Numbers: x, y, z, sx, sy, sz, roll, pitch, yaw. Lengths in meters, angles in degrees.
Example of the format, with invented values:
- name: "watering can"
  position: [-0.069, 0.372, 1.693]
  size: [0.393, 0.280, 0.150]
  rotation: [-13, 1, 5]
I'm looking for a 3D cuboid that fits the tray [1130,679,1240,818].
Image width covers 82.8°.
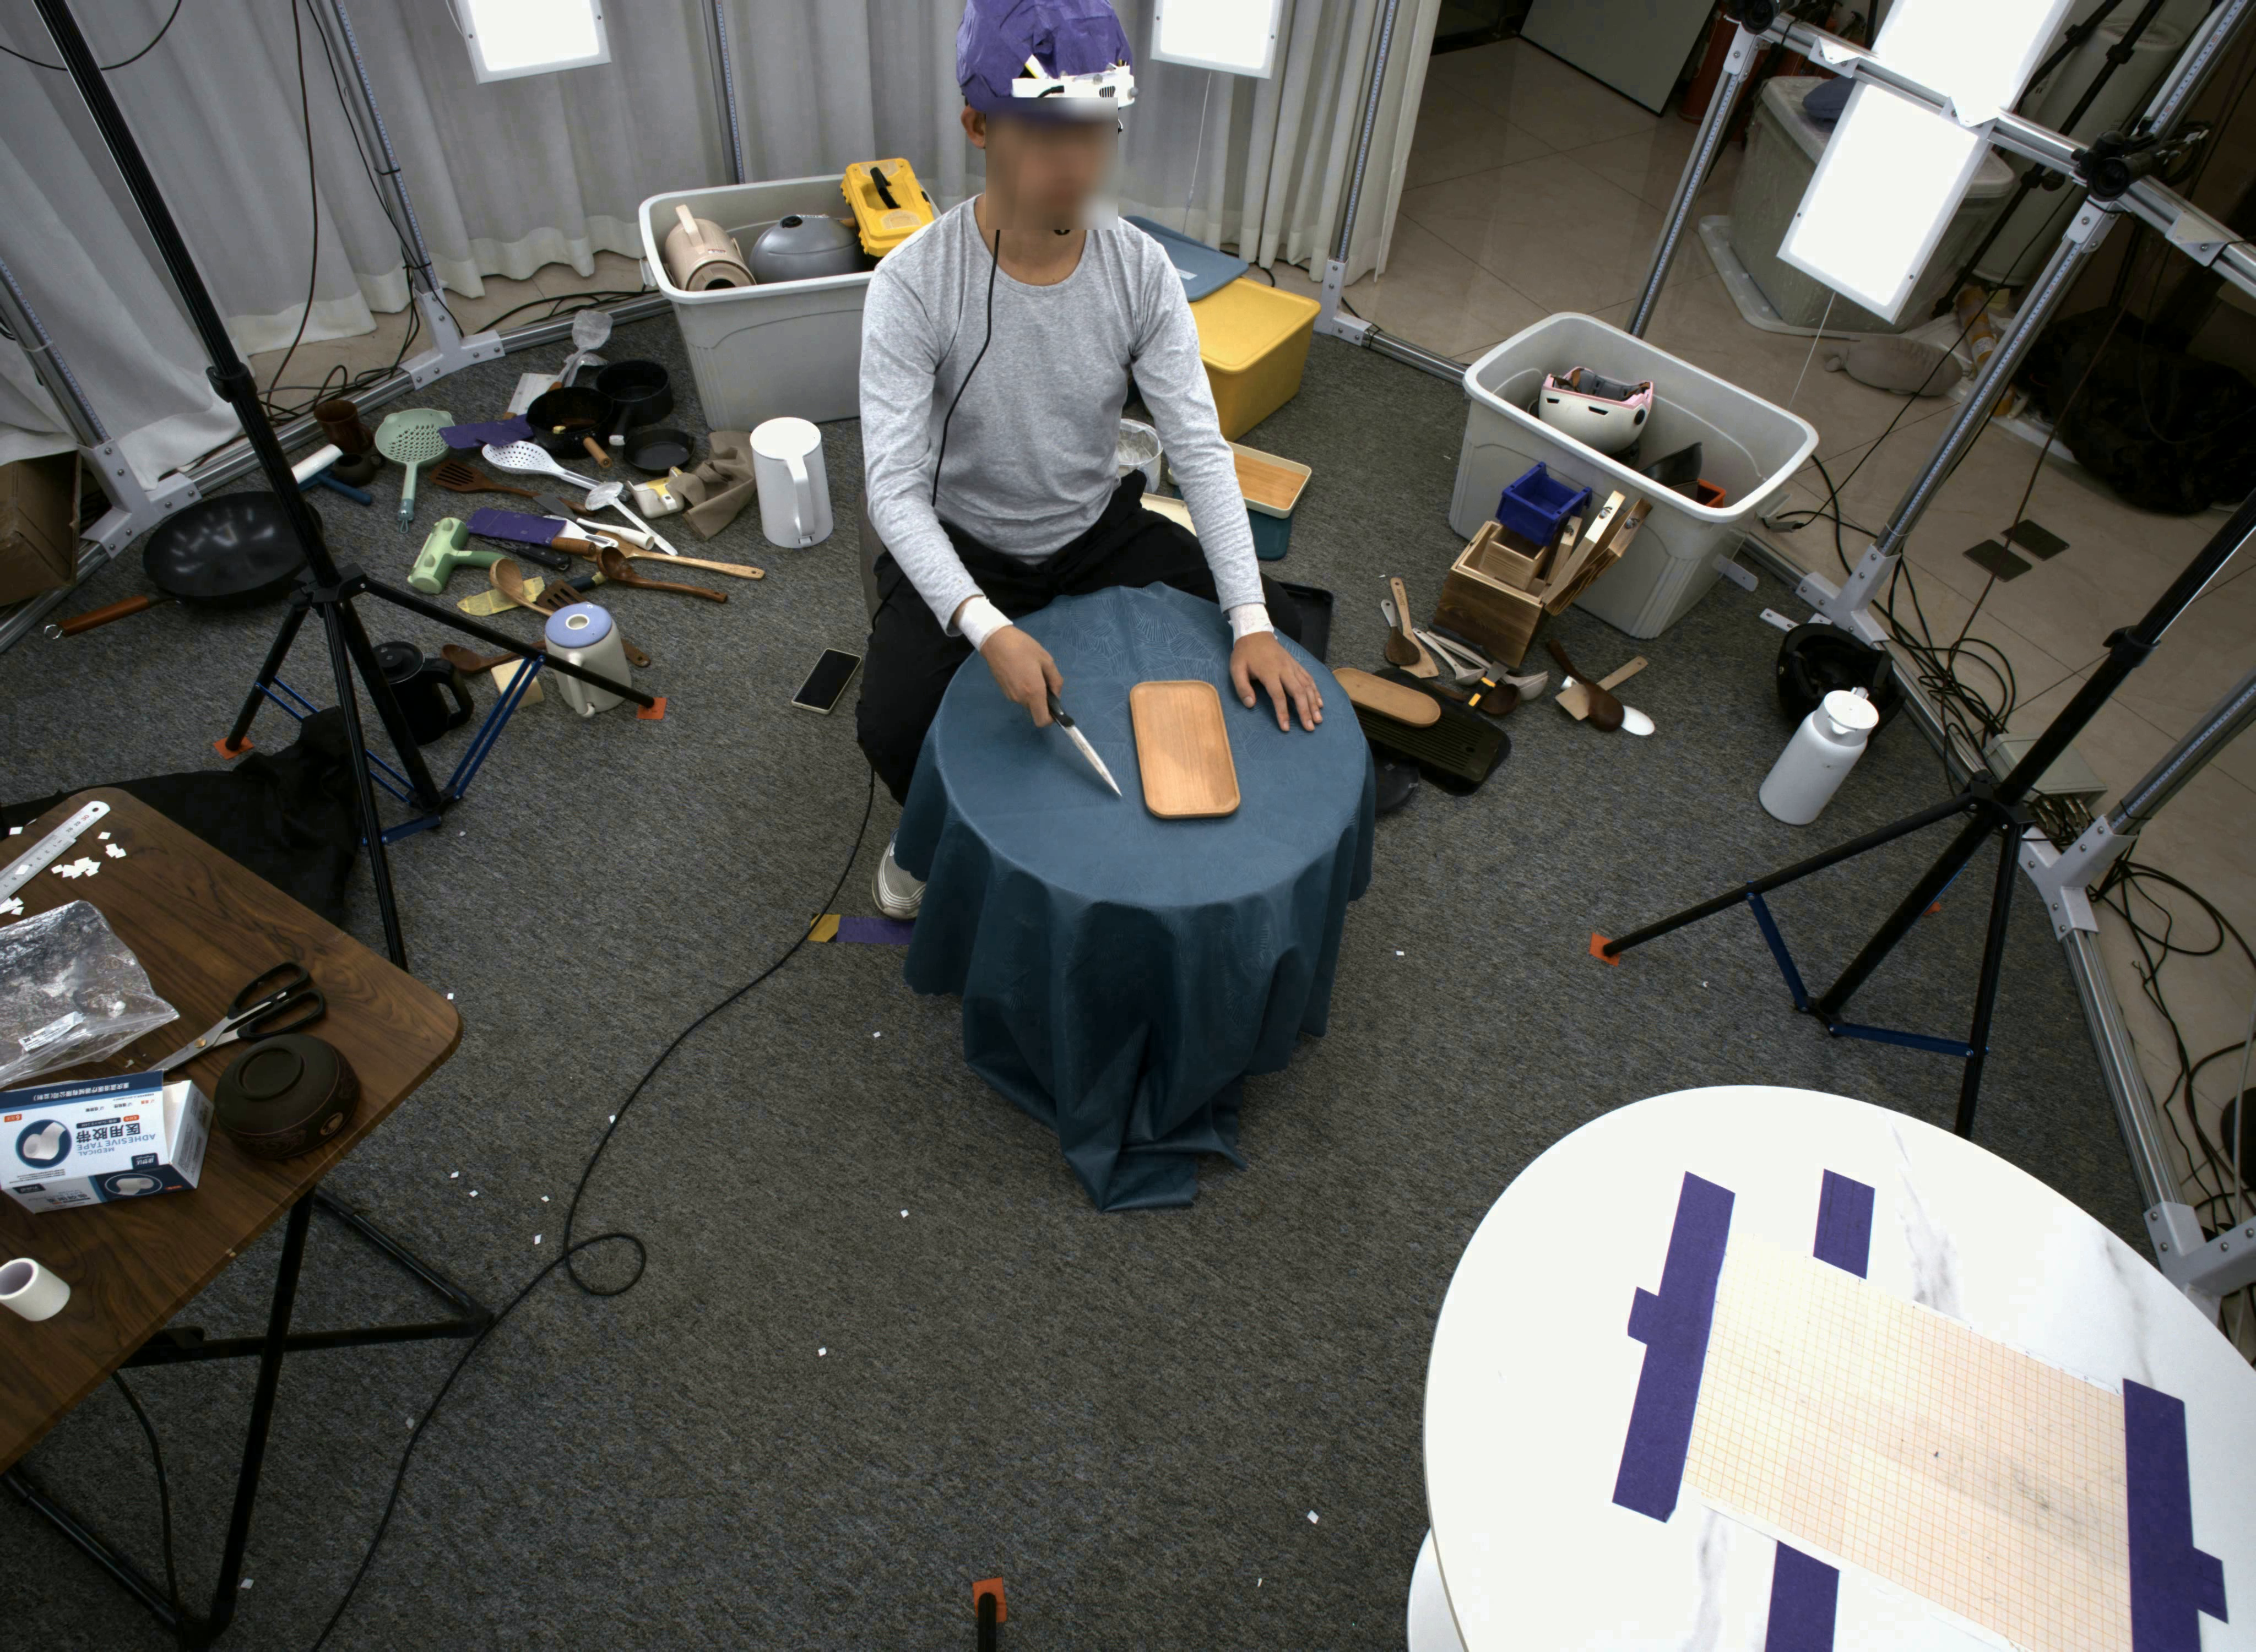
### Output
- name: "tray"
  position: [0.075, -0.109, 1.756]
  size: [0.130, 0.022, 0.257]
  rotation: [0, 48, -7]

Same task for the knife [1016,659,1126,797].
- name: "knife"
  position: [-0.078, -0.131, 1.721]
  size: [0.024, 0.016, 0.240]
  rotation: [-29, 76, -36]
